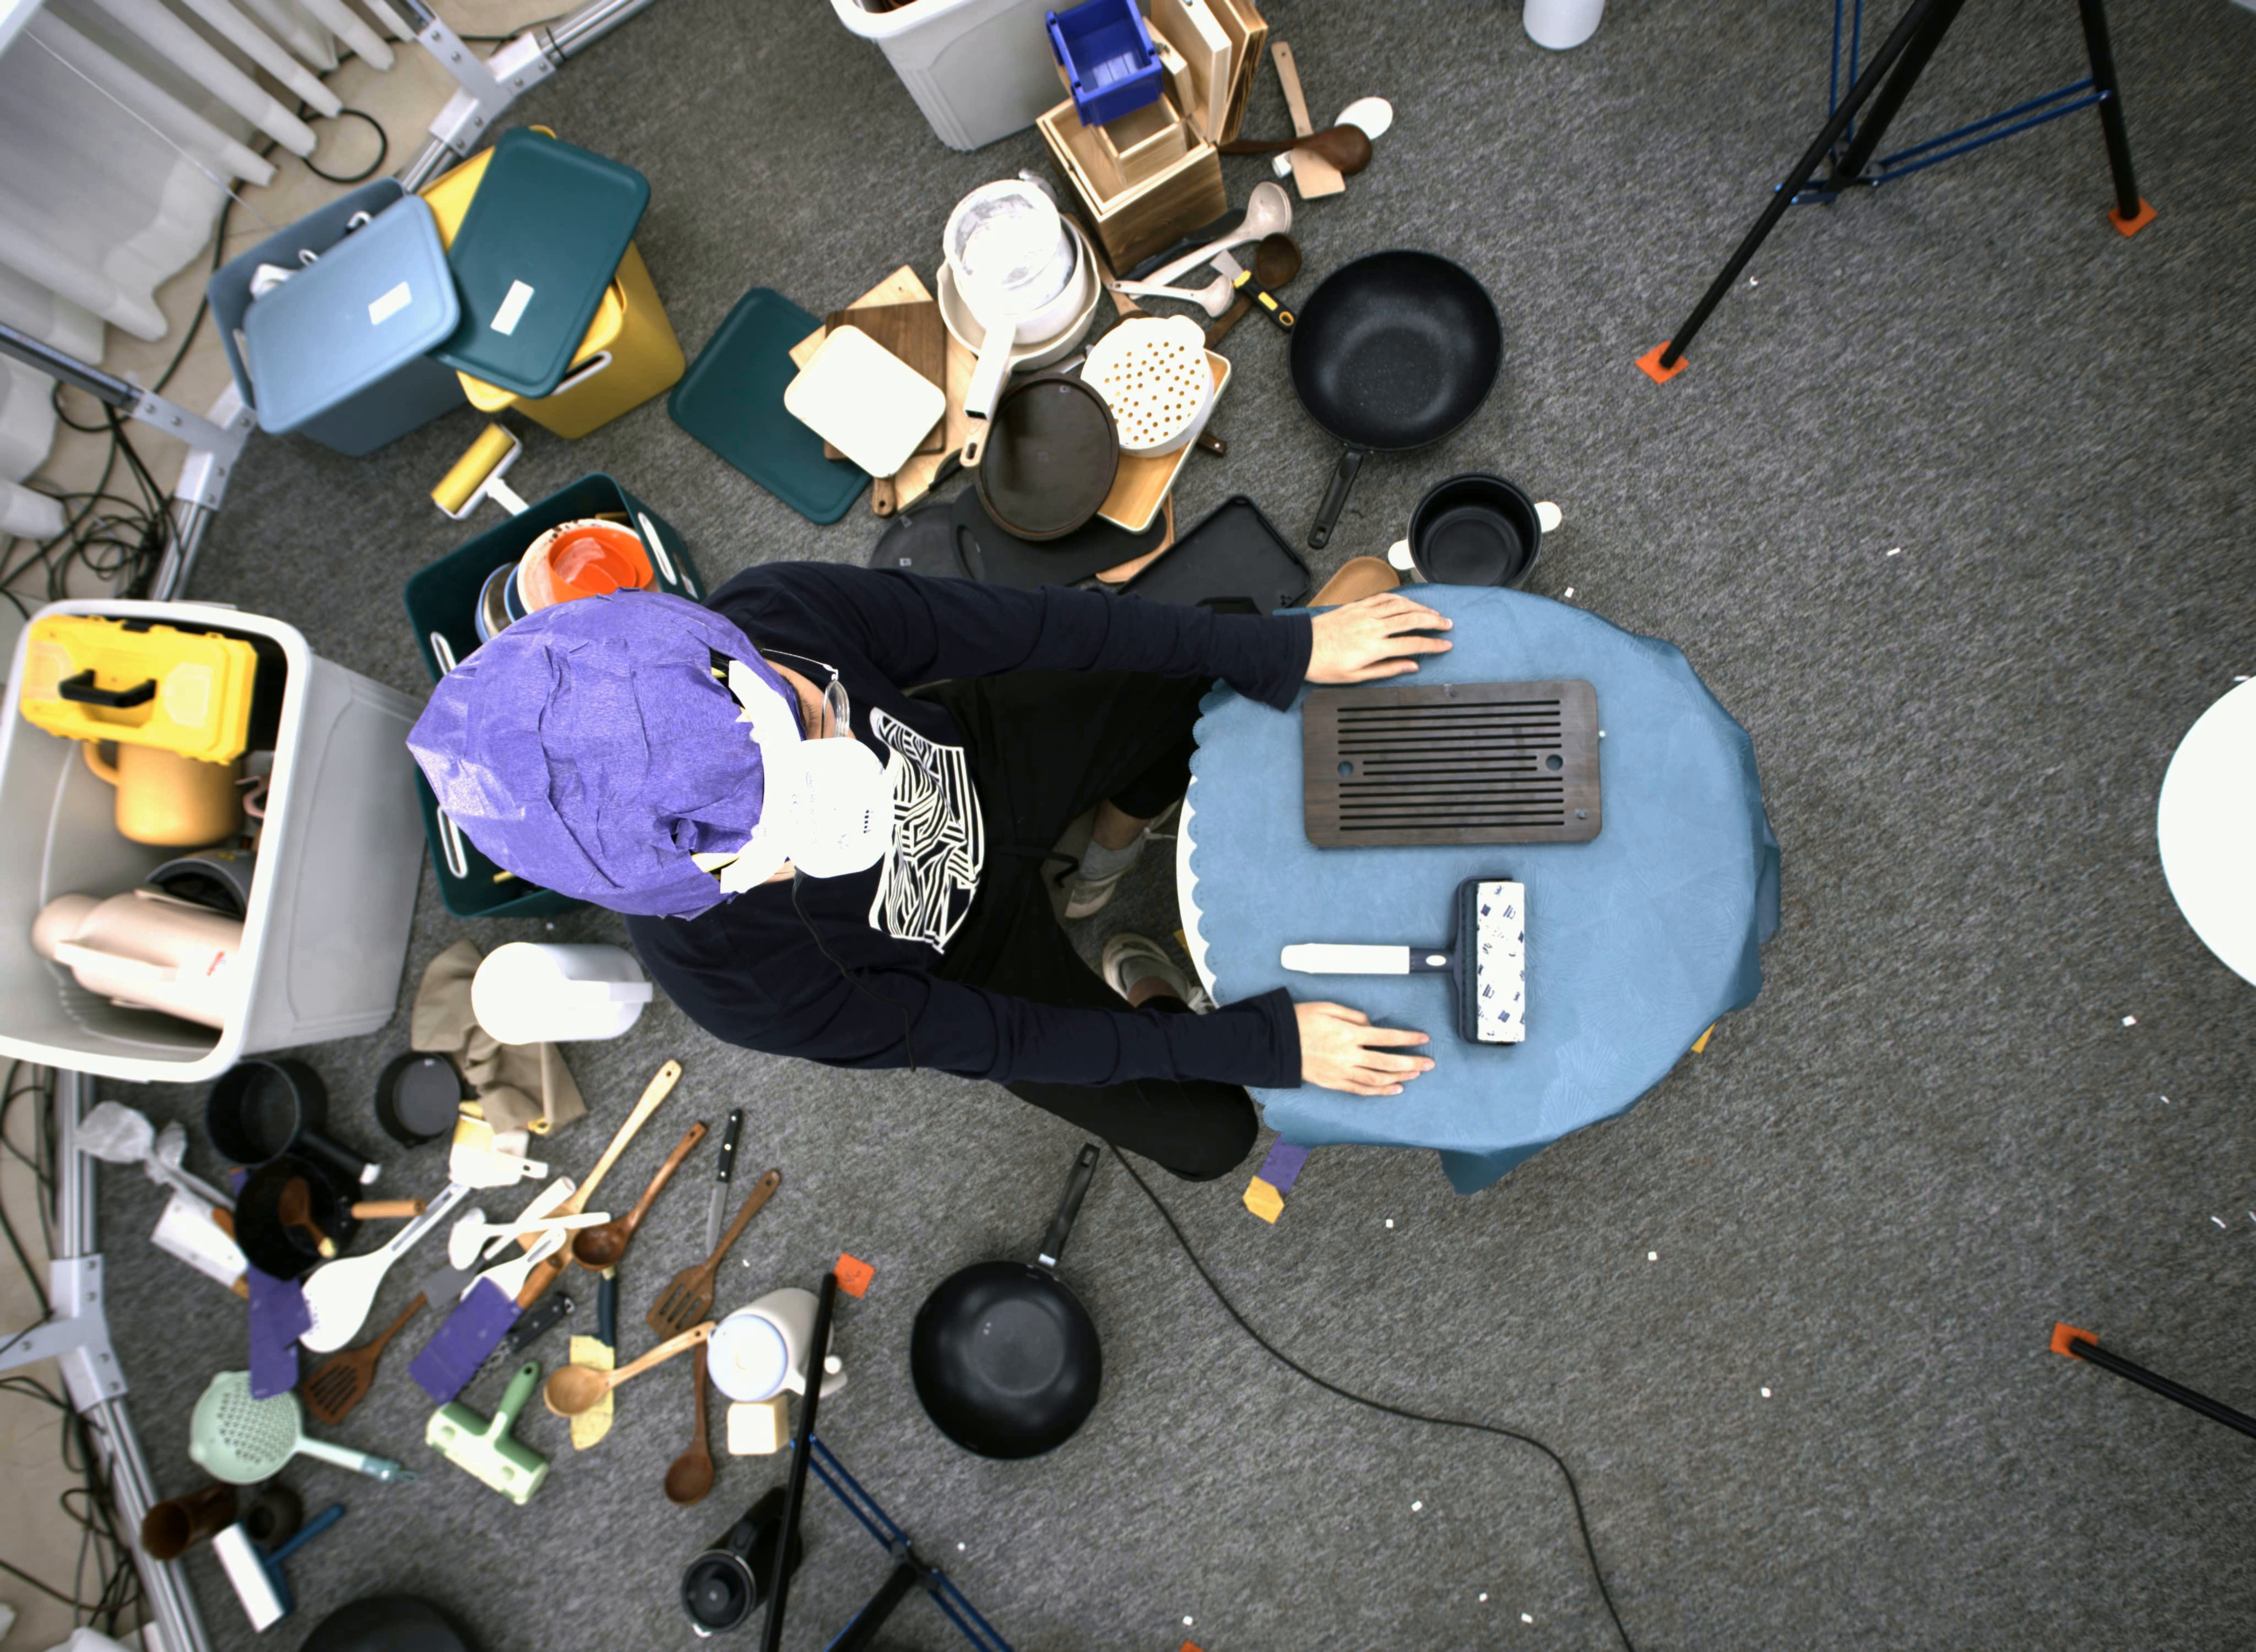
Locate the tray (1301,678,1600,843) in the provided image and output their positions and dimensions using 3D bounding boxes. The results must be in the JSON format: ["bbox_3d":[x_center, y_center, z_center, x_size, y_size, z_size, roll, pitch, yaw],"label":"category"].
[{"bbox_3d":[0.336,-0.069,1.446,0.307,0.018,0.169,-1,87,11],"label":"tray"}]

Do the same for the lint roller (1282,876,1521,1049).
[{"bbox_3d":[0.282,0.139,1.434,0.248,0.050,0.175,-1,87,14],"label":"lint roller"}]
